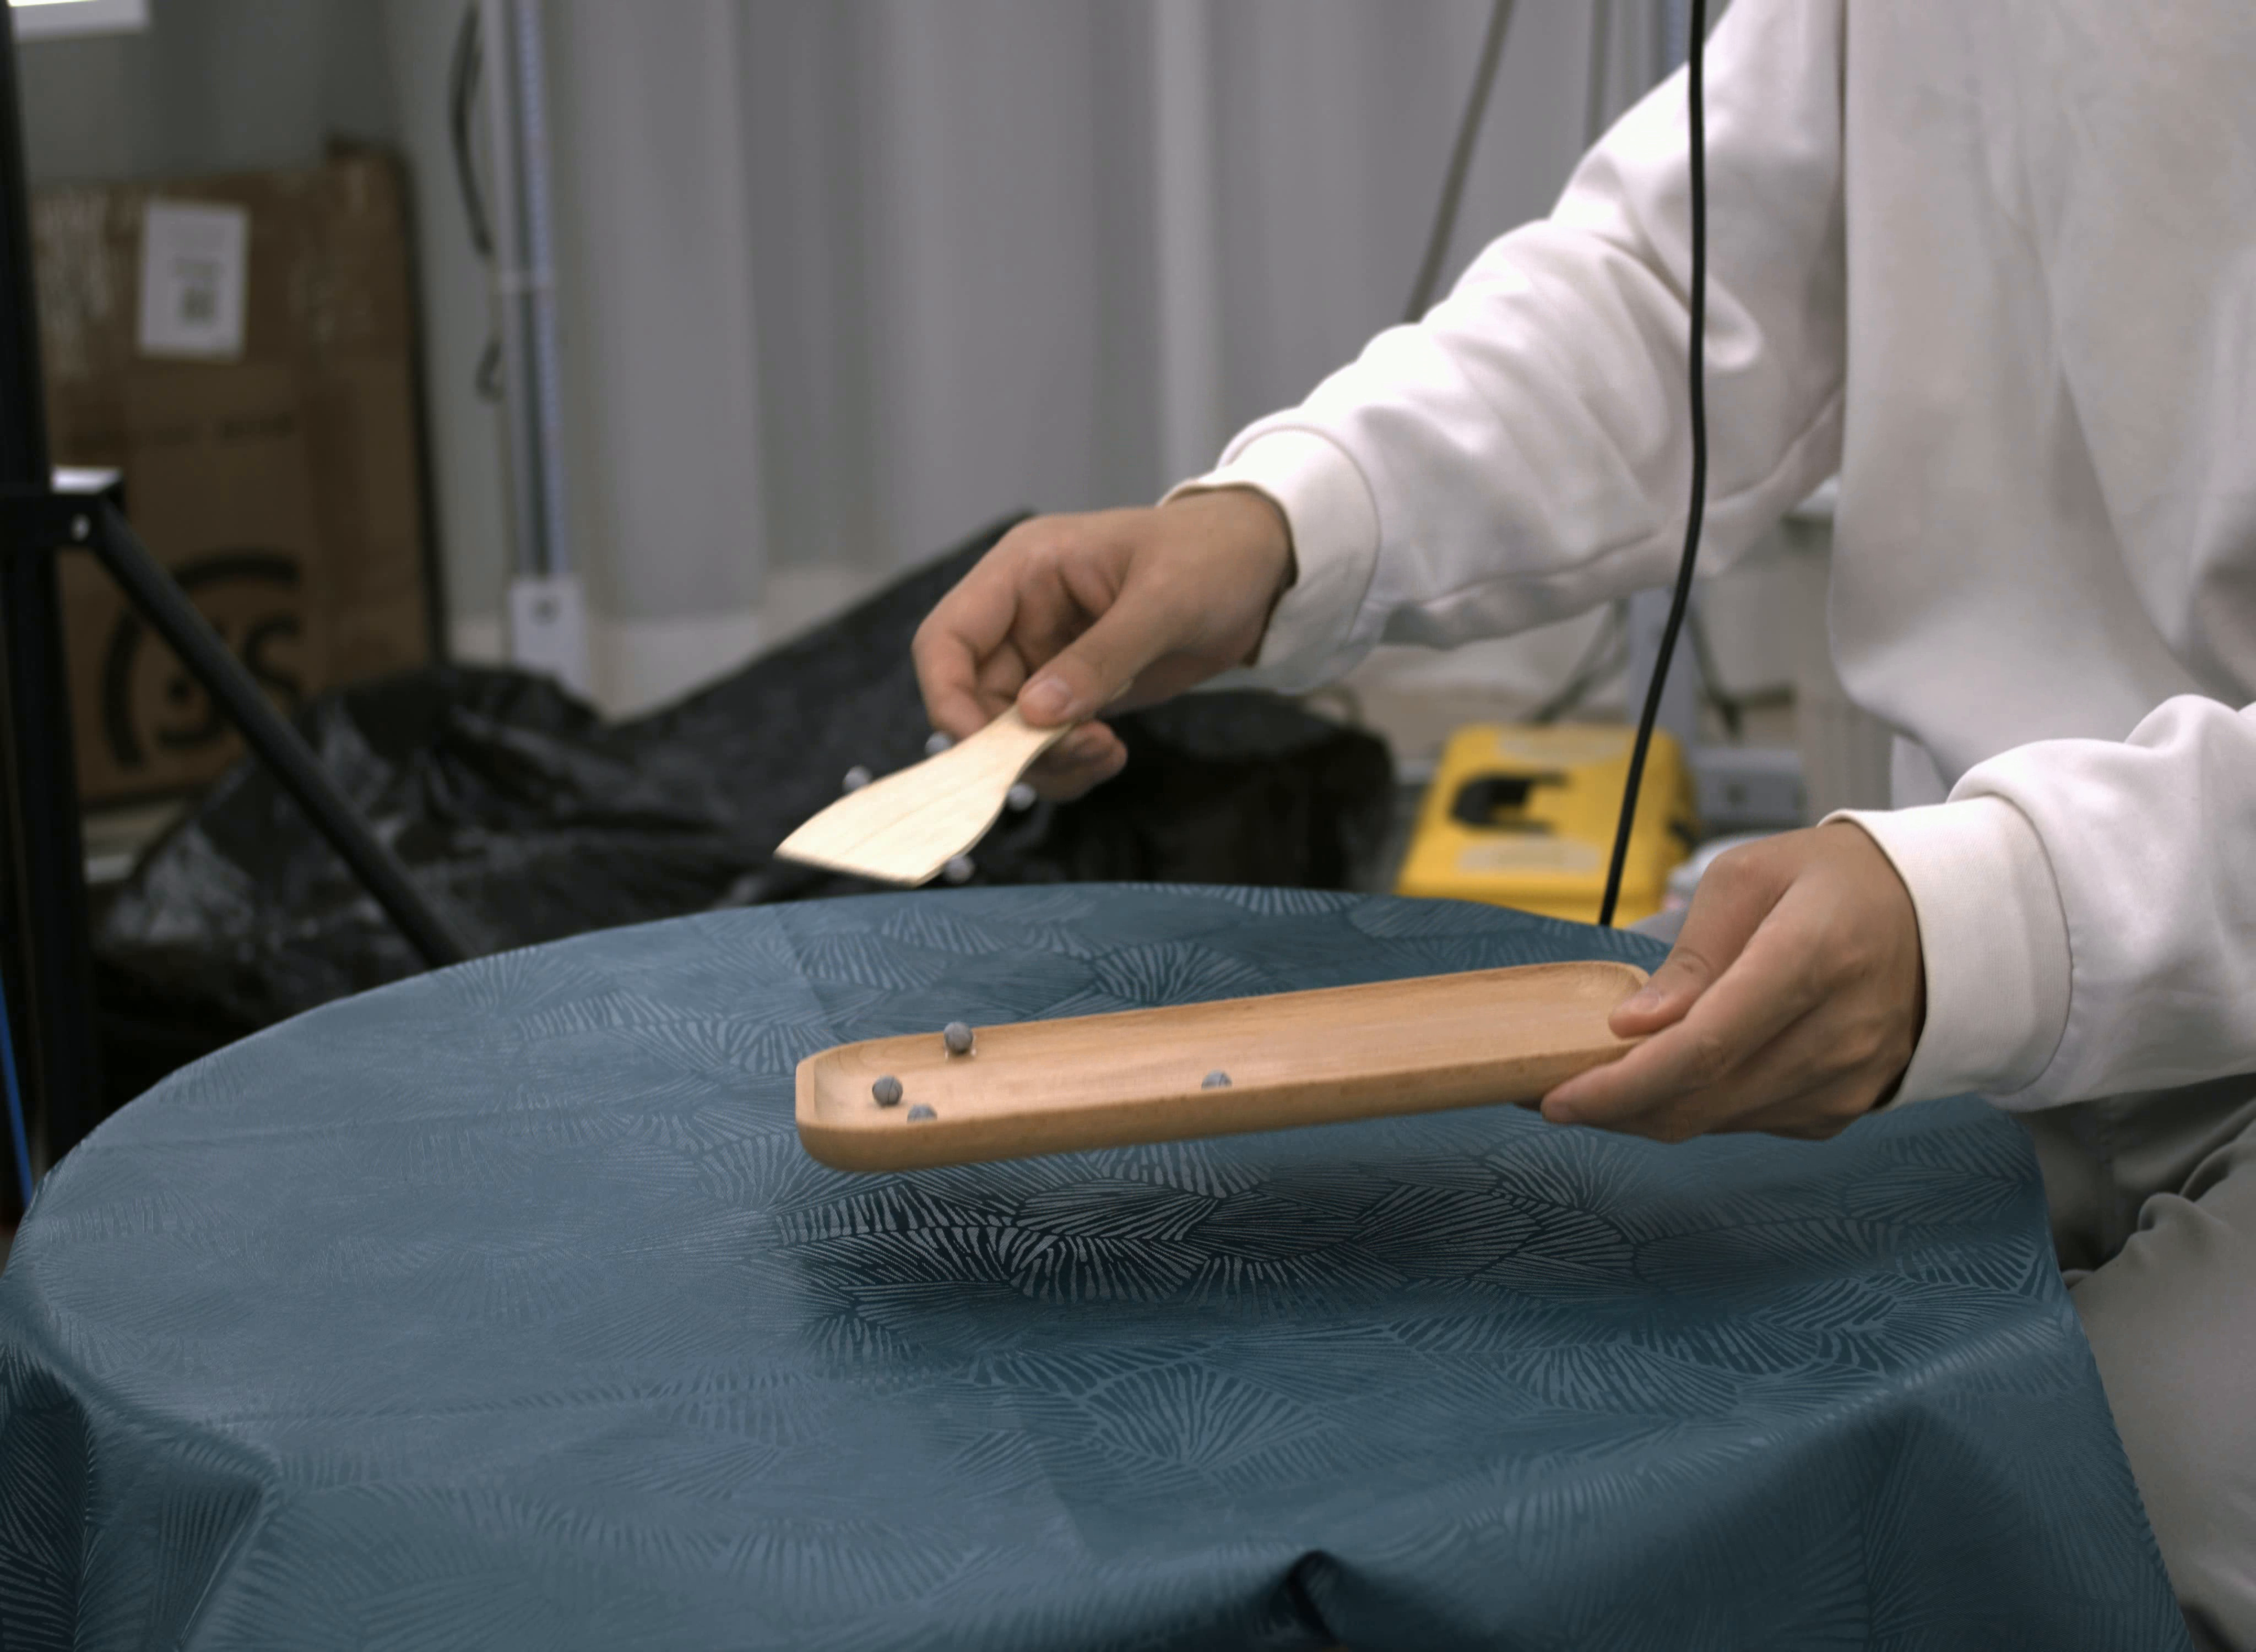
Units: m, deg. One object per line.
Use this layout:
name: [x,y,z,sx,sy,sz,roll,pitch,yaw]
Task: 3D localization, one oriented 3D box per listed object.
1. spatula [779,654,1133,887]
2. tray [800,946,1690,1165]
spatula: [-0.045,-0.021,1.683,0.051,0.005,0.205,15,25,19]
tray: [0.031,0.065,1.513,0.249,0.023,0.131,-6,12,0]
